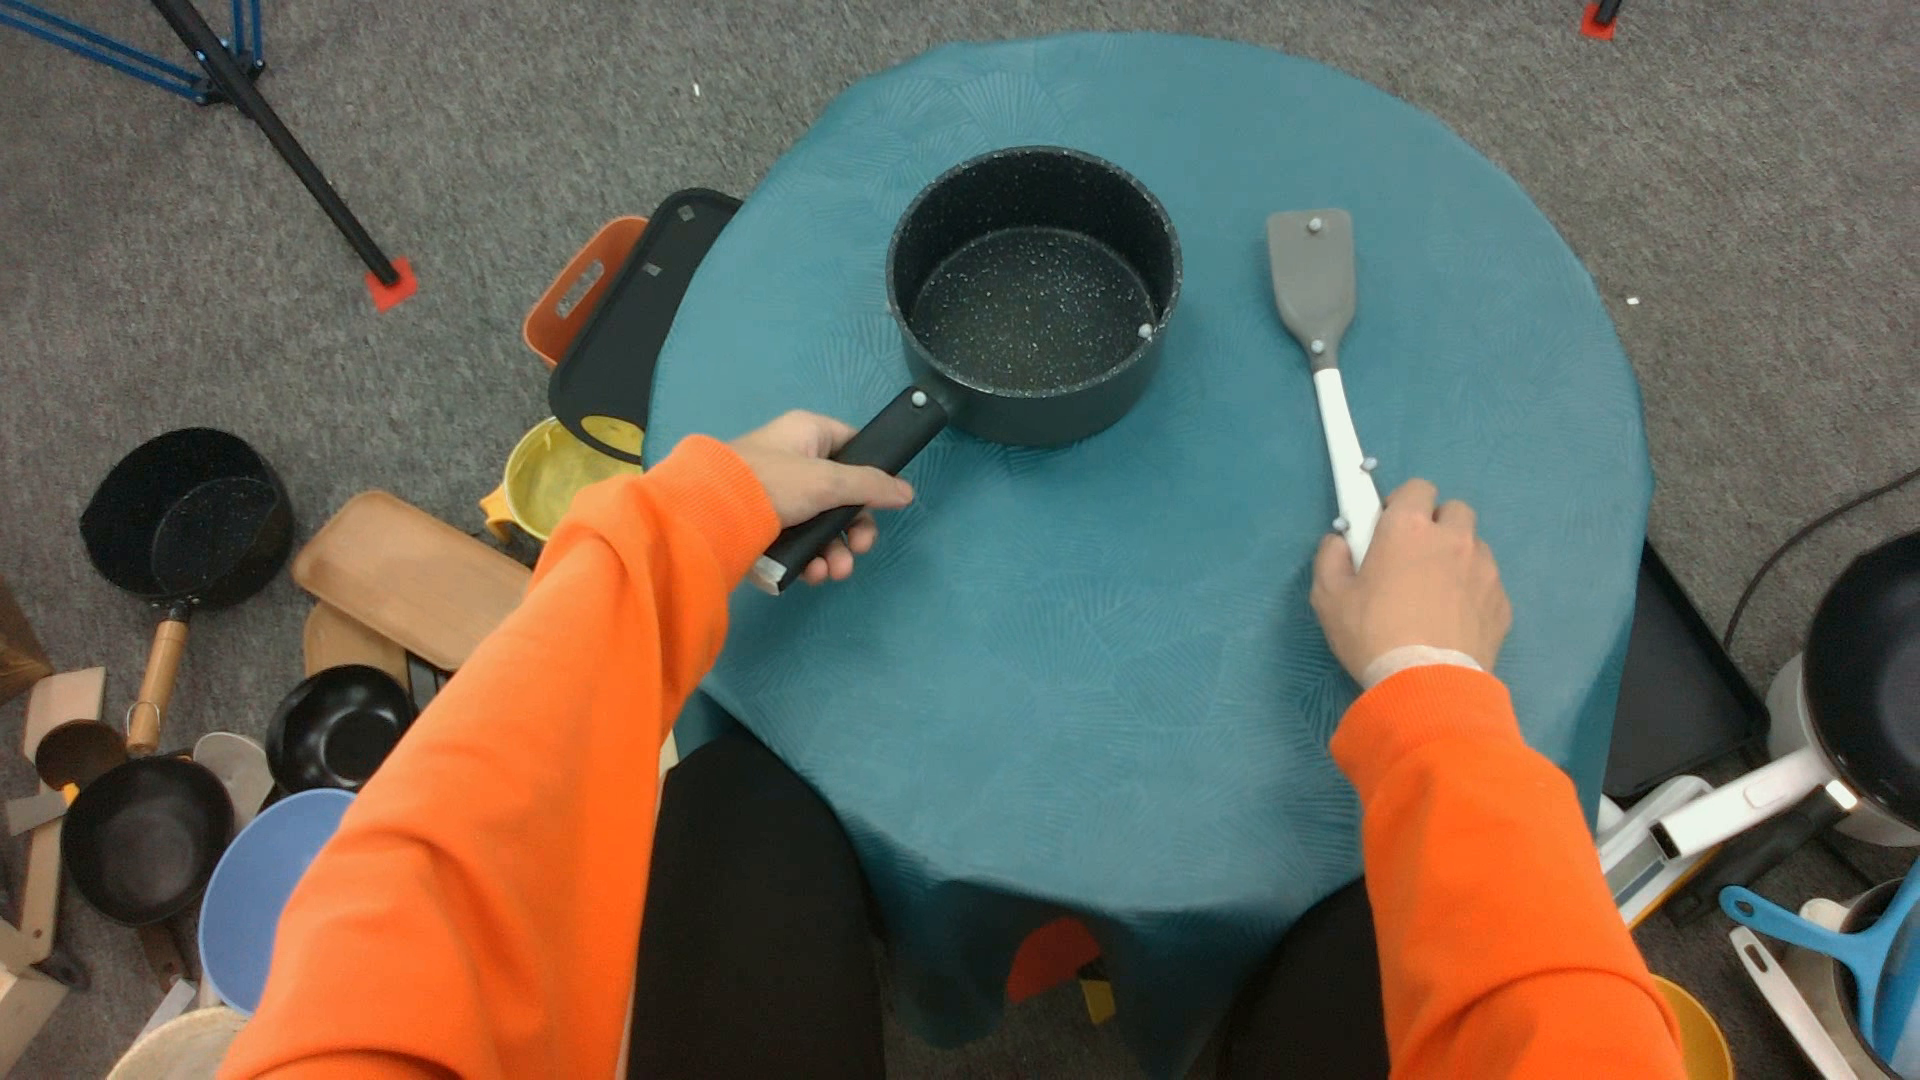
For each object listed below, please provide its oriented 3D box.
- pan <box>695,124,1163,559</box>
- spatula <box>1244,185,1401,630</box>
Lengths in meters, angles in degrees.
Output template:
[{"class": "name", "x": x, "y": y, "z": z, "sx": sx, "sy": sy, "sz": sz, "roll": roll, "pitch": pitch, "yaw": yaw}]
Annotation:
[{"class": "pan", "x": -0.020, "y": -0.100, "z": 0.797, "sx": 0.172, "sy": 0.086, "sz": 0.330, "roll": 37, "pitch": 72, "yaw": 17}, {"class": "spatula", "x": 0.215, "y": -0.087, "z": 0.814, "sx": 0.058, "sy": 0.032, "sz": 0.288, "roll": -6, "pitch": 66, "yaw": 4}]
